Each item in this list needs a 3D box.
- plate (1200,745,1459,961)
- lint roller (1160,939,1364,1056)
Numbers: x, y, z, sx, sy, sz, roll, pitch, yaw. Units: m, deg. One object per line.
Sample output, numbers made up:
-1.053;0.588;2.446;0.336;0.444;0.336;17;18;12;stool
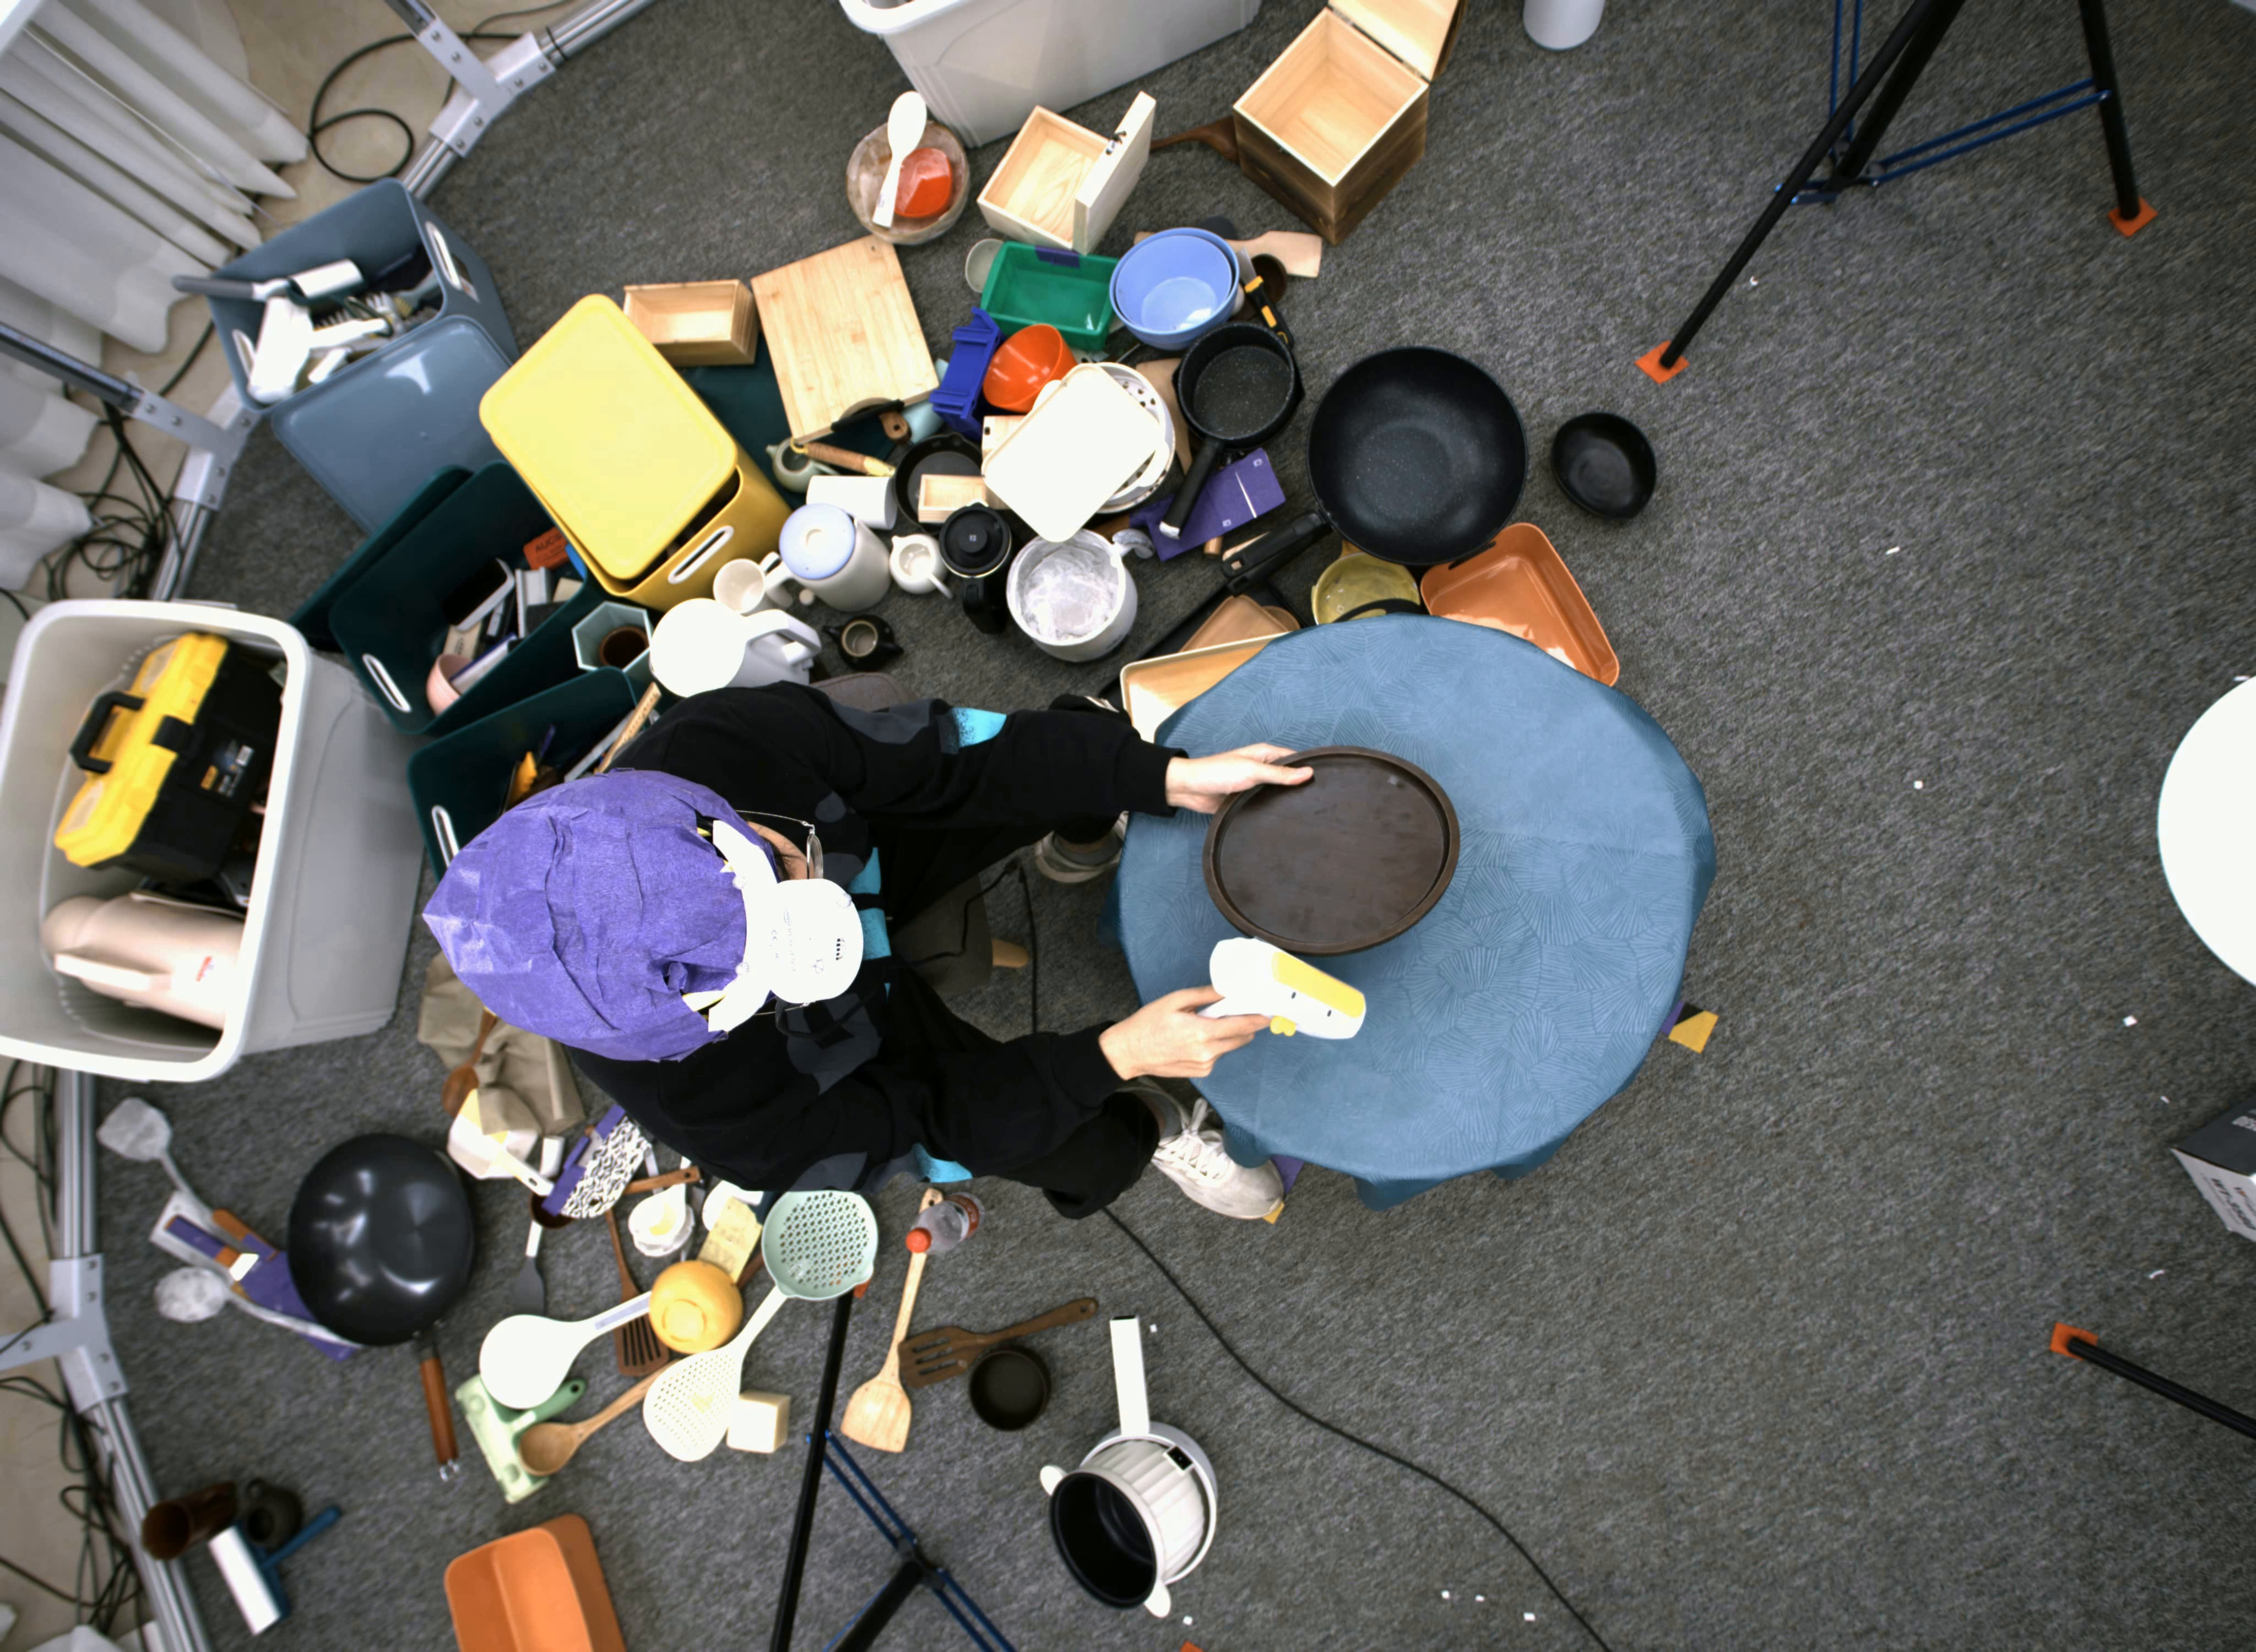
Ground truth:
0.196;0.023;1.348;0.256;0.029;0.248;-10;53;13;plate
0.106;0.176;1.341;0.195;0.193;0.073;-21;58;42;lint roller
